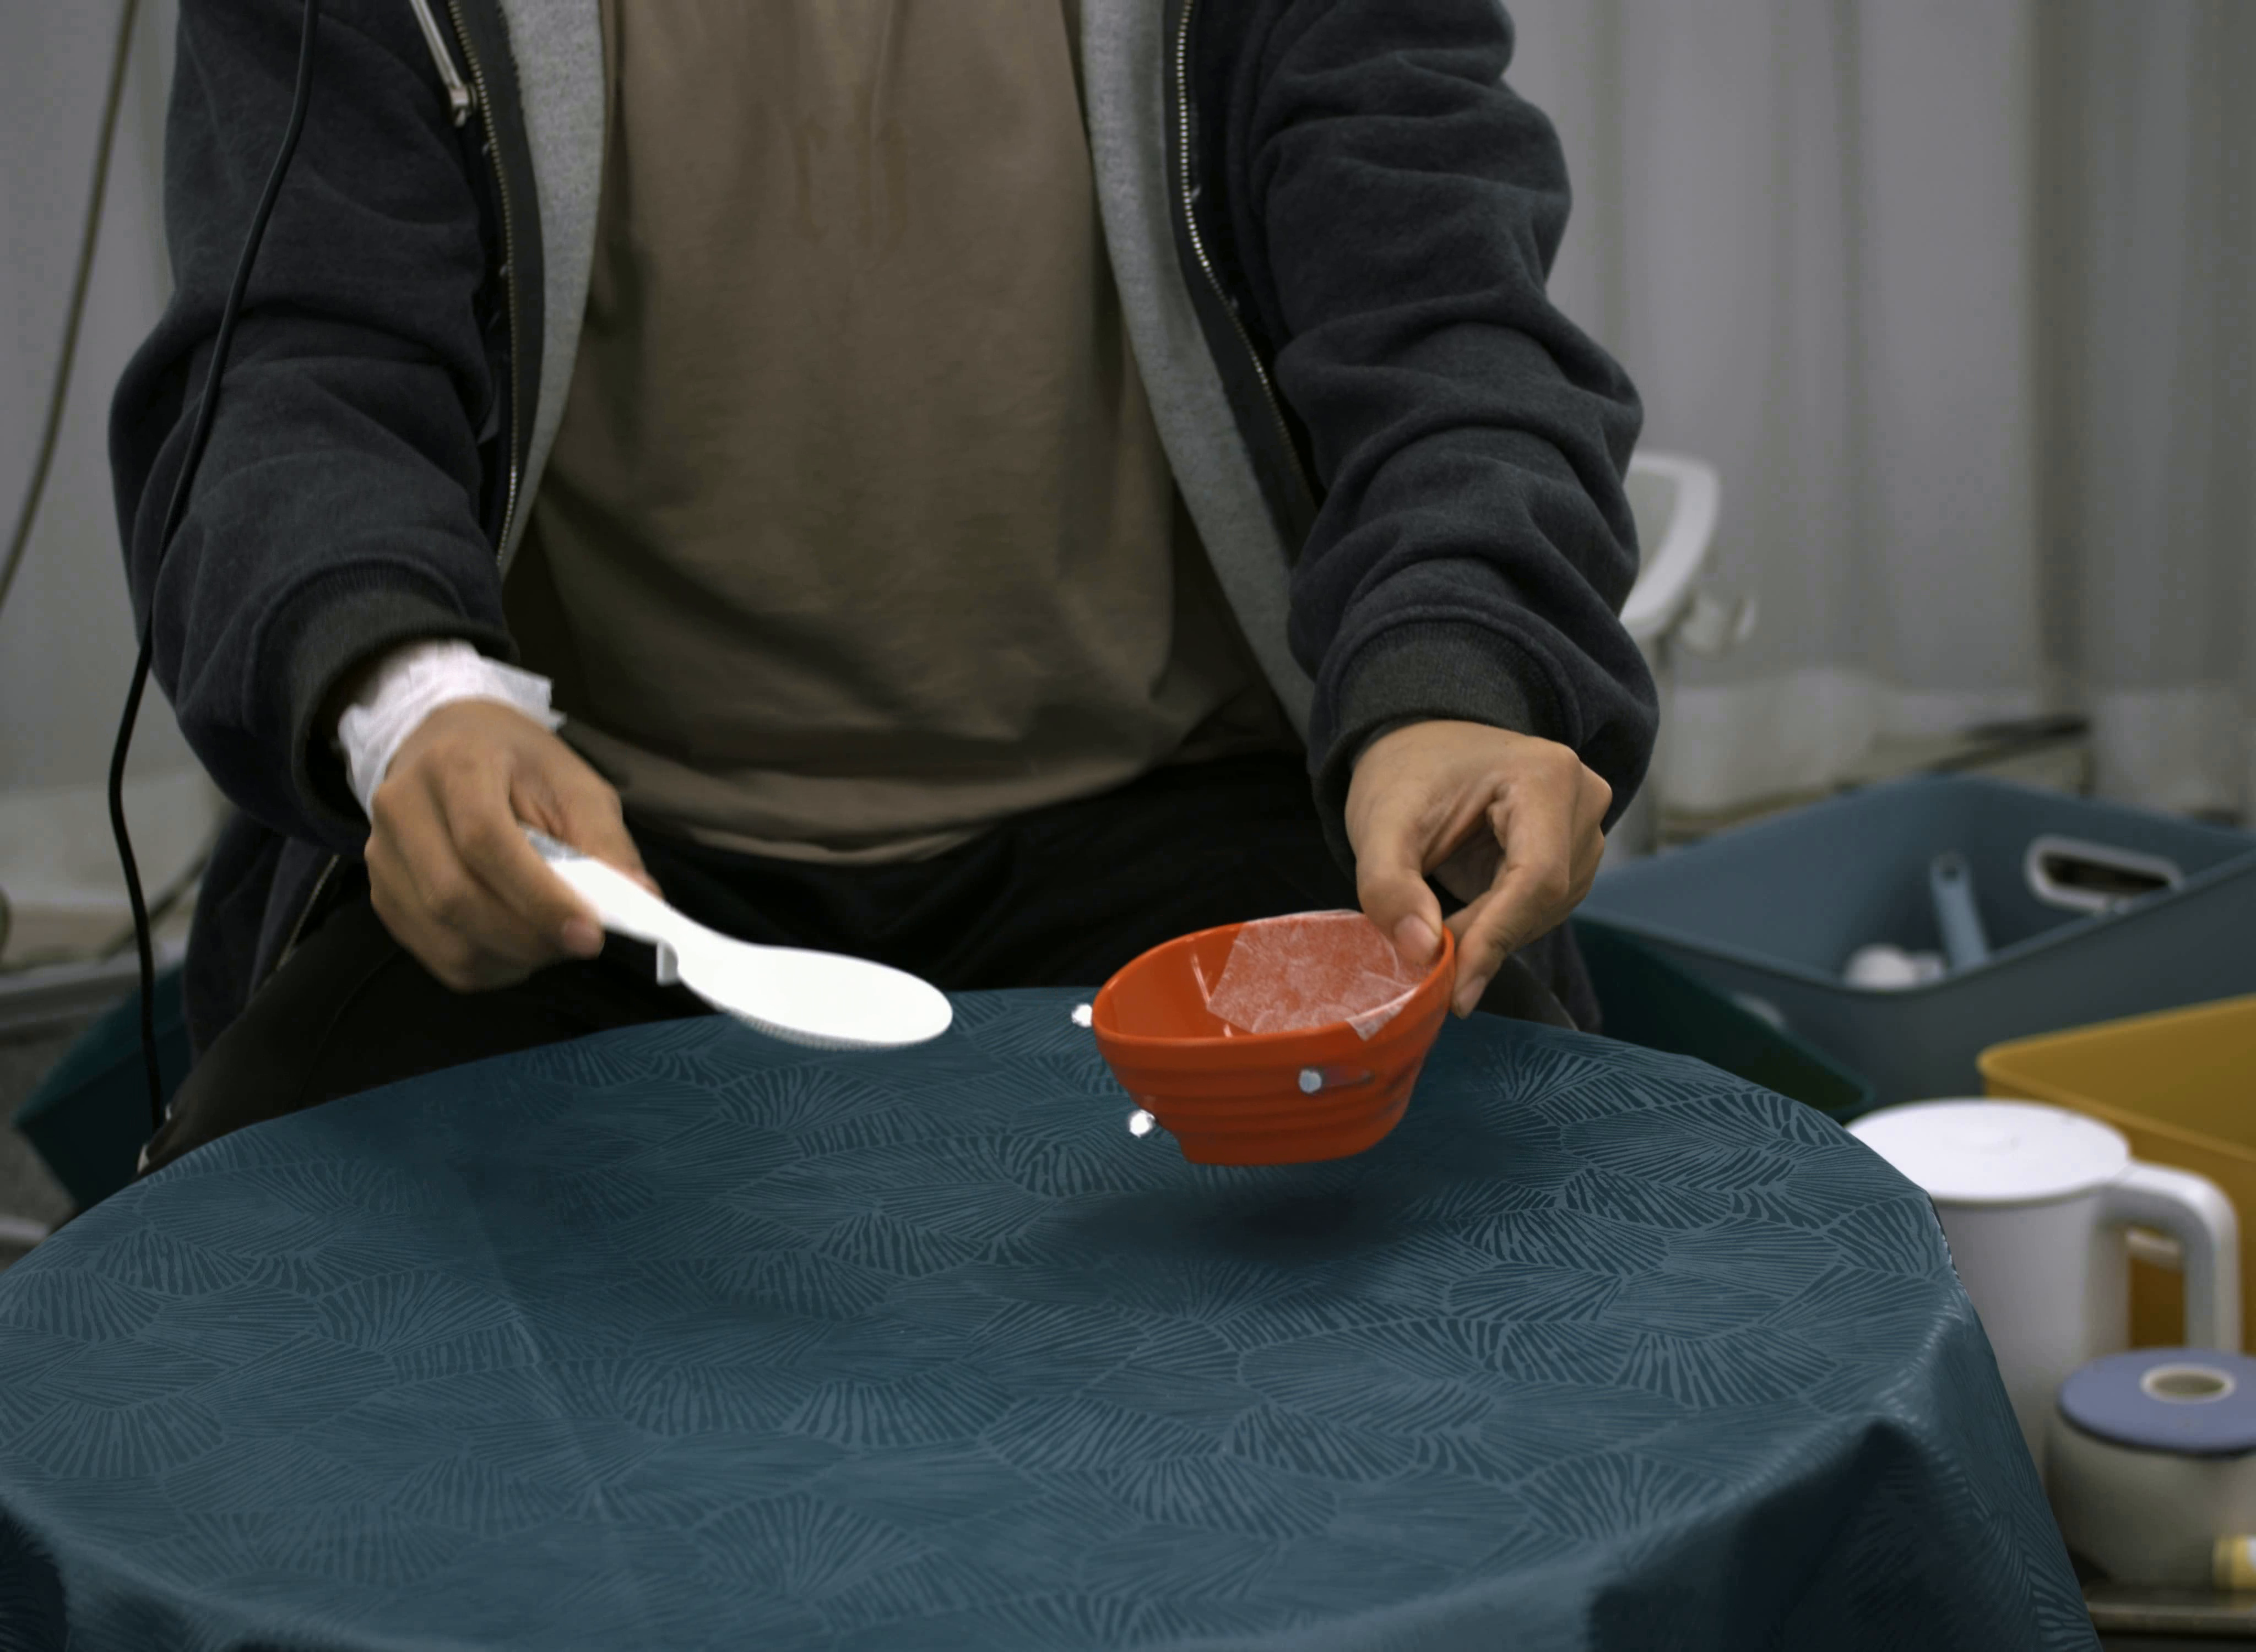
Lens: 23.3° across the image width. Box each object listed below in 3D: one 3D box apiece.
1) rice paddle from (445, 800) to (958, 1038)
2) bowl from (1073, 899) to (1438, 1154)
[{"bbox_3d":[-0.131,0.031,1.654,0.068,0.029,0.207,-11,22,-44],"label":"rice paddle"},{"bbox_3d":[0.043,0.064,1.674,0.118,0.051,0.120,-11,15,3],"label":"bowl"}]
